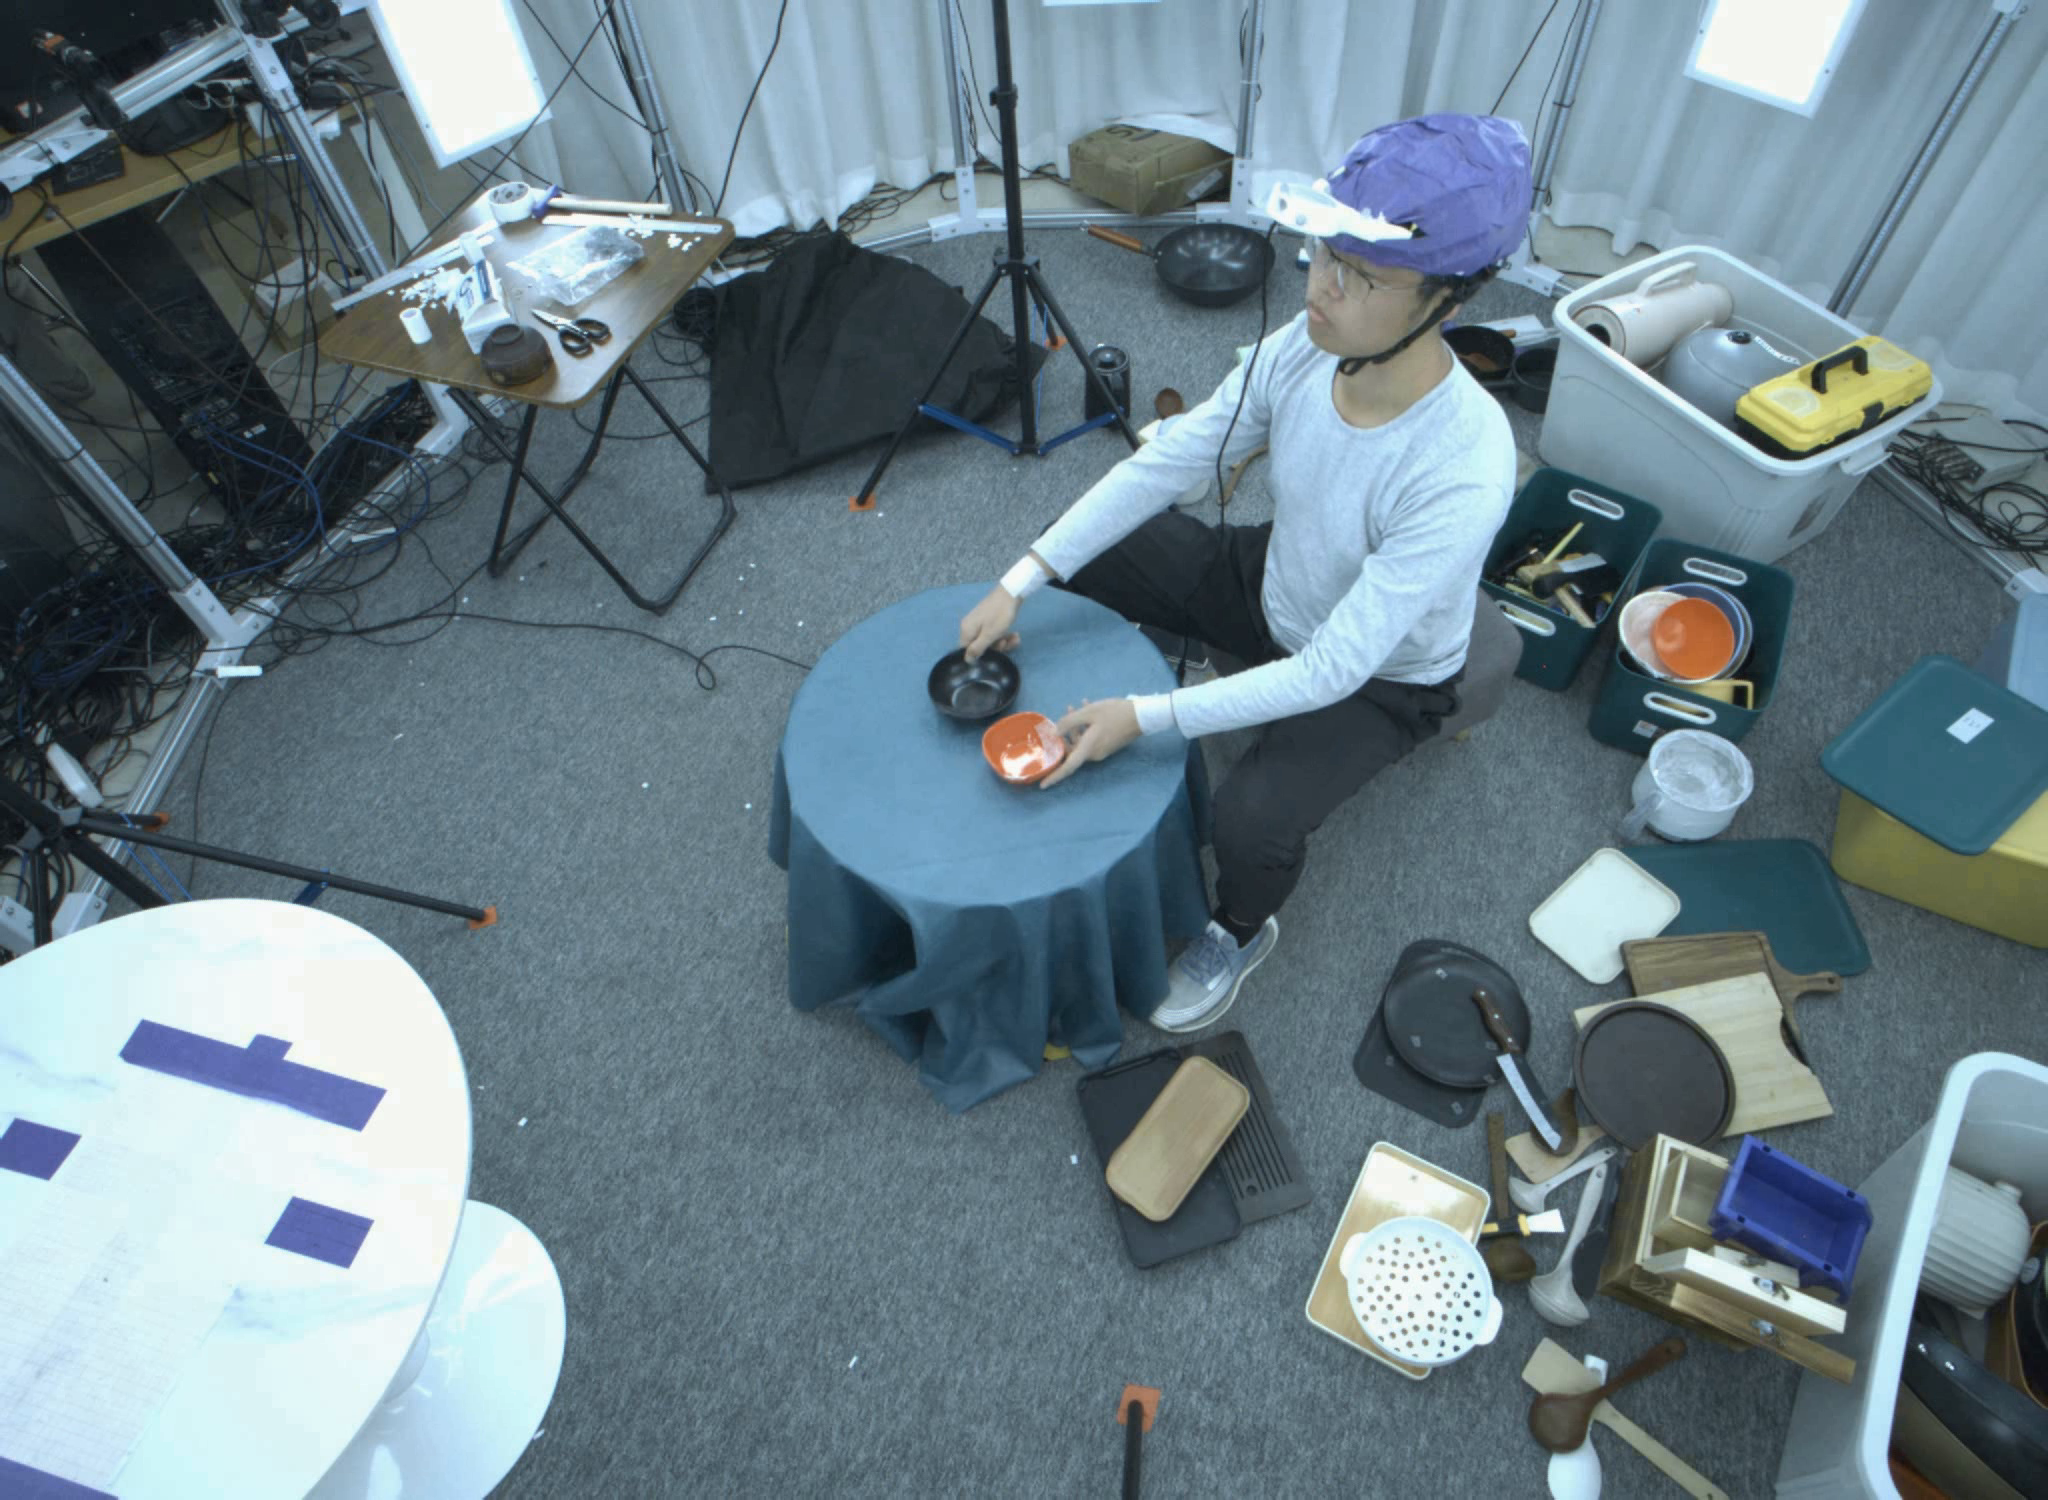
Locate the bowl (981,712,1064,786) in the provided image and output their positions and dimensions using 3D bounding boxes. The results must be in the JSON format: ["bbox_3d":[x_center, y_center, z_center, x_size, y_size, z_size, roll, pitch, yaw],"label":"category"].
[{"bbox_3d":[0.000,0.006,1.756,0.118,0.052,0.118,-2,55,4],"label":"bowl"}]

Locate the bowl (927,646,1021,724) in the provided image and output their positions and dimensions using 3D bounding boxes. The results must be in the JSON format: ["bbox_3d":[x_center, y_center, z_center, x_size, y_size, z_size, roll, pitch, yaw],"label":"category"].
[{"bbox_3d":[-0.074,-0.088,1.833,0.140,0.050,0.138,2,54,-2],"label":"bowl"}]
